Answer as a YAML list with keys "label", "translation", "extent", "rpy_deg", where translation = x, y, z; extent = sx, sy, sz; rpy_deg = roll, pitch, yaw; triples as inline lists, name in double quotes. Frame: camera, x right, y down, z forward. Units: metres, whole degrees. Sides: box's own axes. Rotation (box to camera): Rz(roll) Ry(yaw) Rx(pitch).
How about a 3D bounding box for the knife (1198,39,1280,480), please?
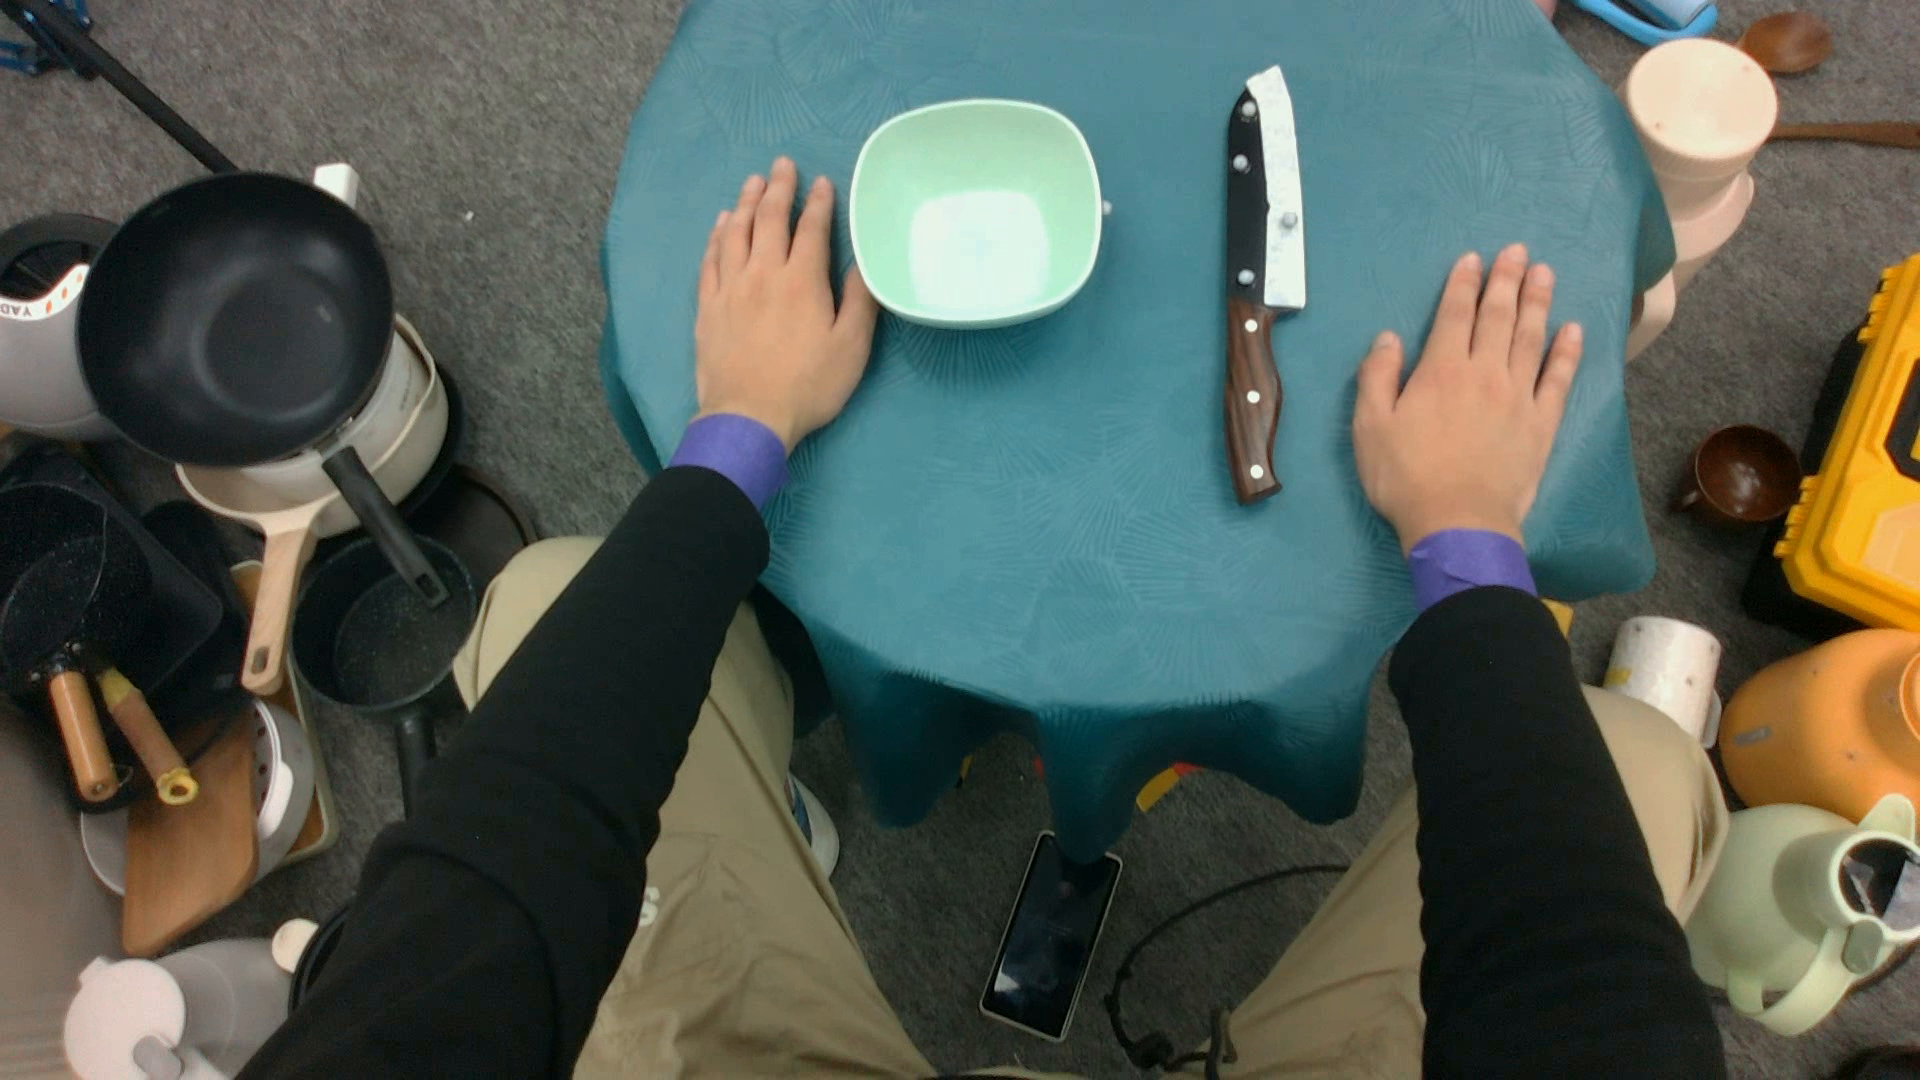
- label: "knife"
  translation: [0.158, -0.169, 0.787]
  extent: [0.050, 0.020, 0.290]
  rpy_deg: [6, 71, 0]

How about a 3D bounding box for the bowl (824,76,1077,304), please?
- label: "bowl"
  translation: [-0.004, -0.187, 0.778]
  extent: [0.151, 0.058, 0.152]
  rpy_deg: [-1, 71, 2]
